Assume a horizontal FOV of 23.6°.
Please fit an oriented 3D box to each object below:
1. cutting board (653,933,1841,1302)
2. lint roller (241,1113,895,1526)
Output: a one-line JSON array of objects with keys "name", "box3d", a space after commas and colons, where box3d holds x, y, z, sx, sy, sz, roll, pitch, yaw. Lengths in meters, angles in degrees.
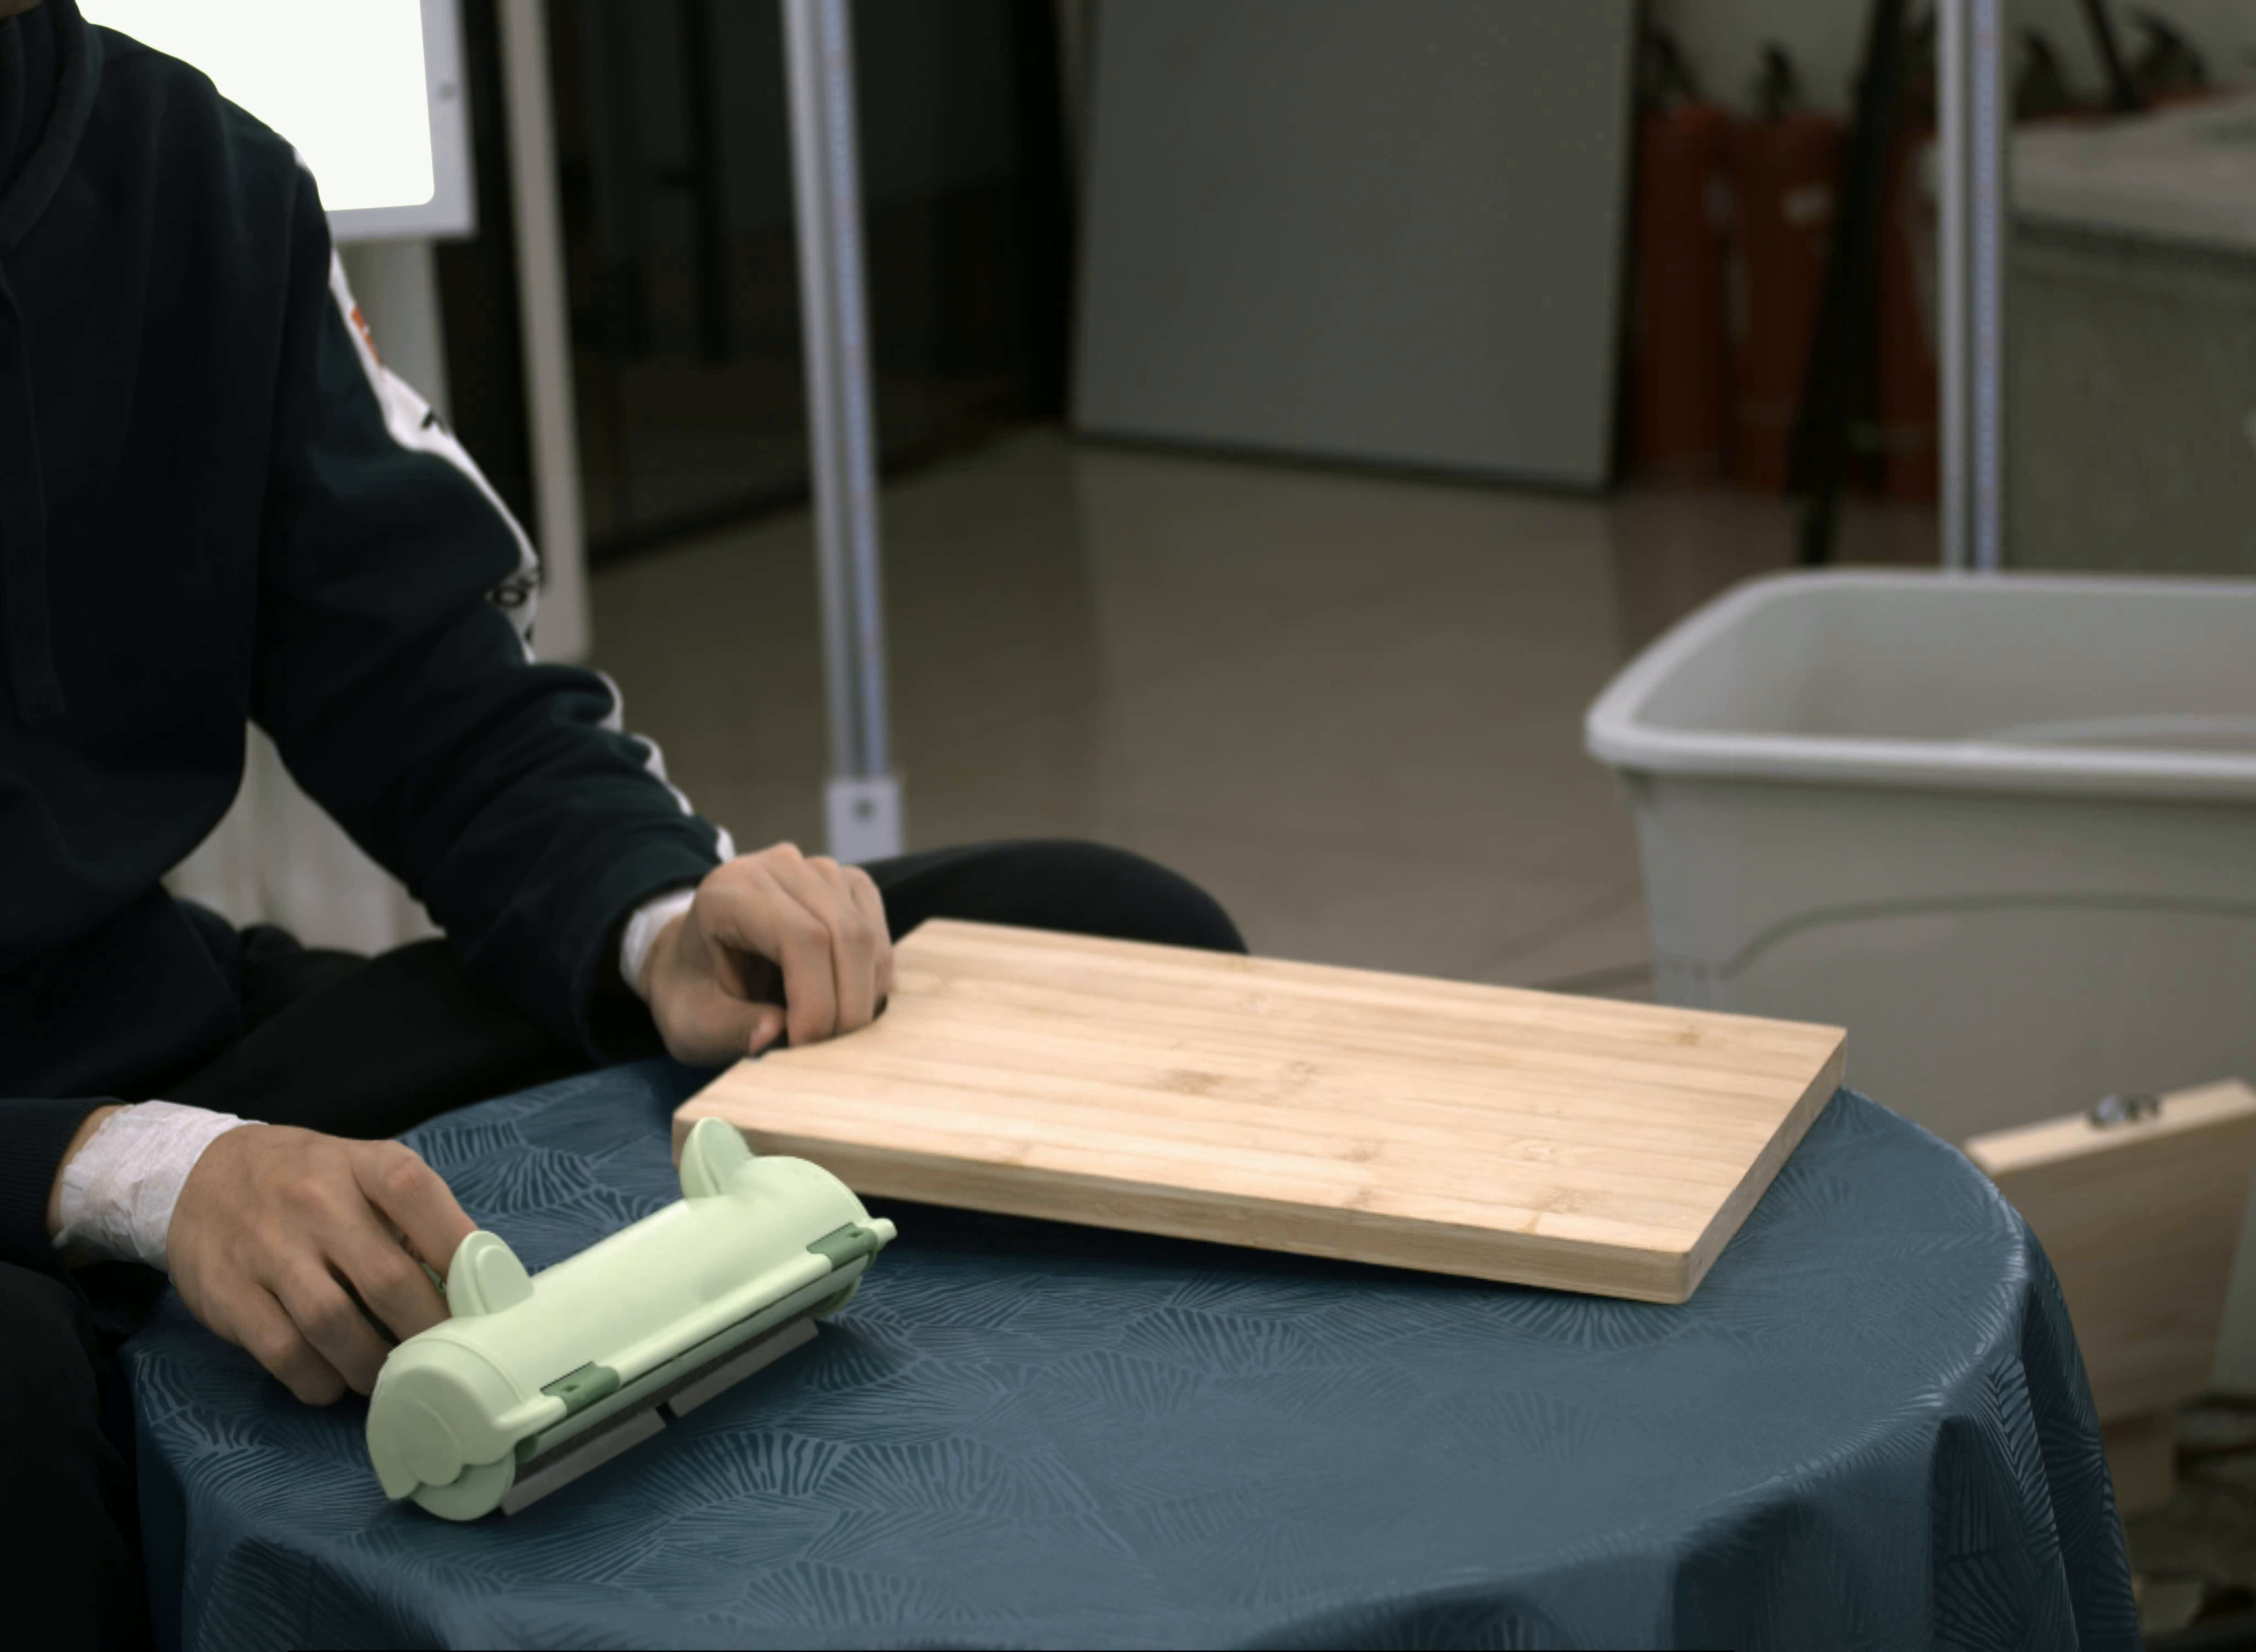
[{"name": "cutting board", "box3d": [0.045, 0.092, 1.792, 0.348, 0.024, 0.248, 5, 16, 19]}, {"name": "lint roller", "box3d": [-0.193, 0.134, 1.615, 0.184, 0.083, 0.195, 9, 19, 31]}]
